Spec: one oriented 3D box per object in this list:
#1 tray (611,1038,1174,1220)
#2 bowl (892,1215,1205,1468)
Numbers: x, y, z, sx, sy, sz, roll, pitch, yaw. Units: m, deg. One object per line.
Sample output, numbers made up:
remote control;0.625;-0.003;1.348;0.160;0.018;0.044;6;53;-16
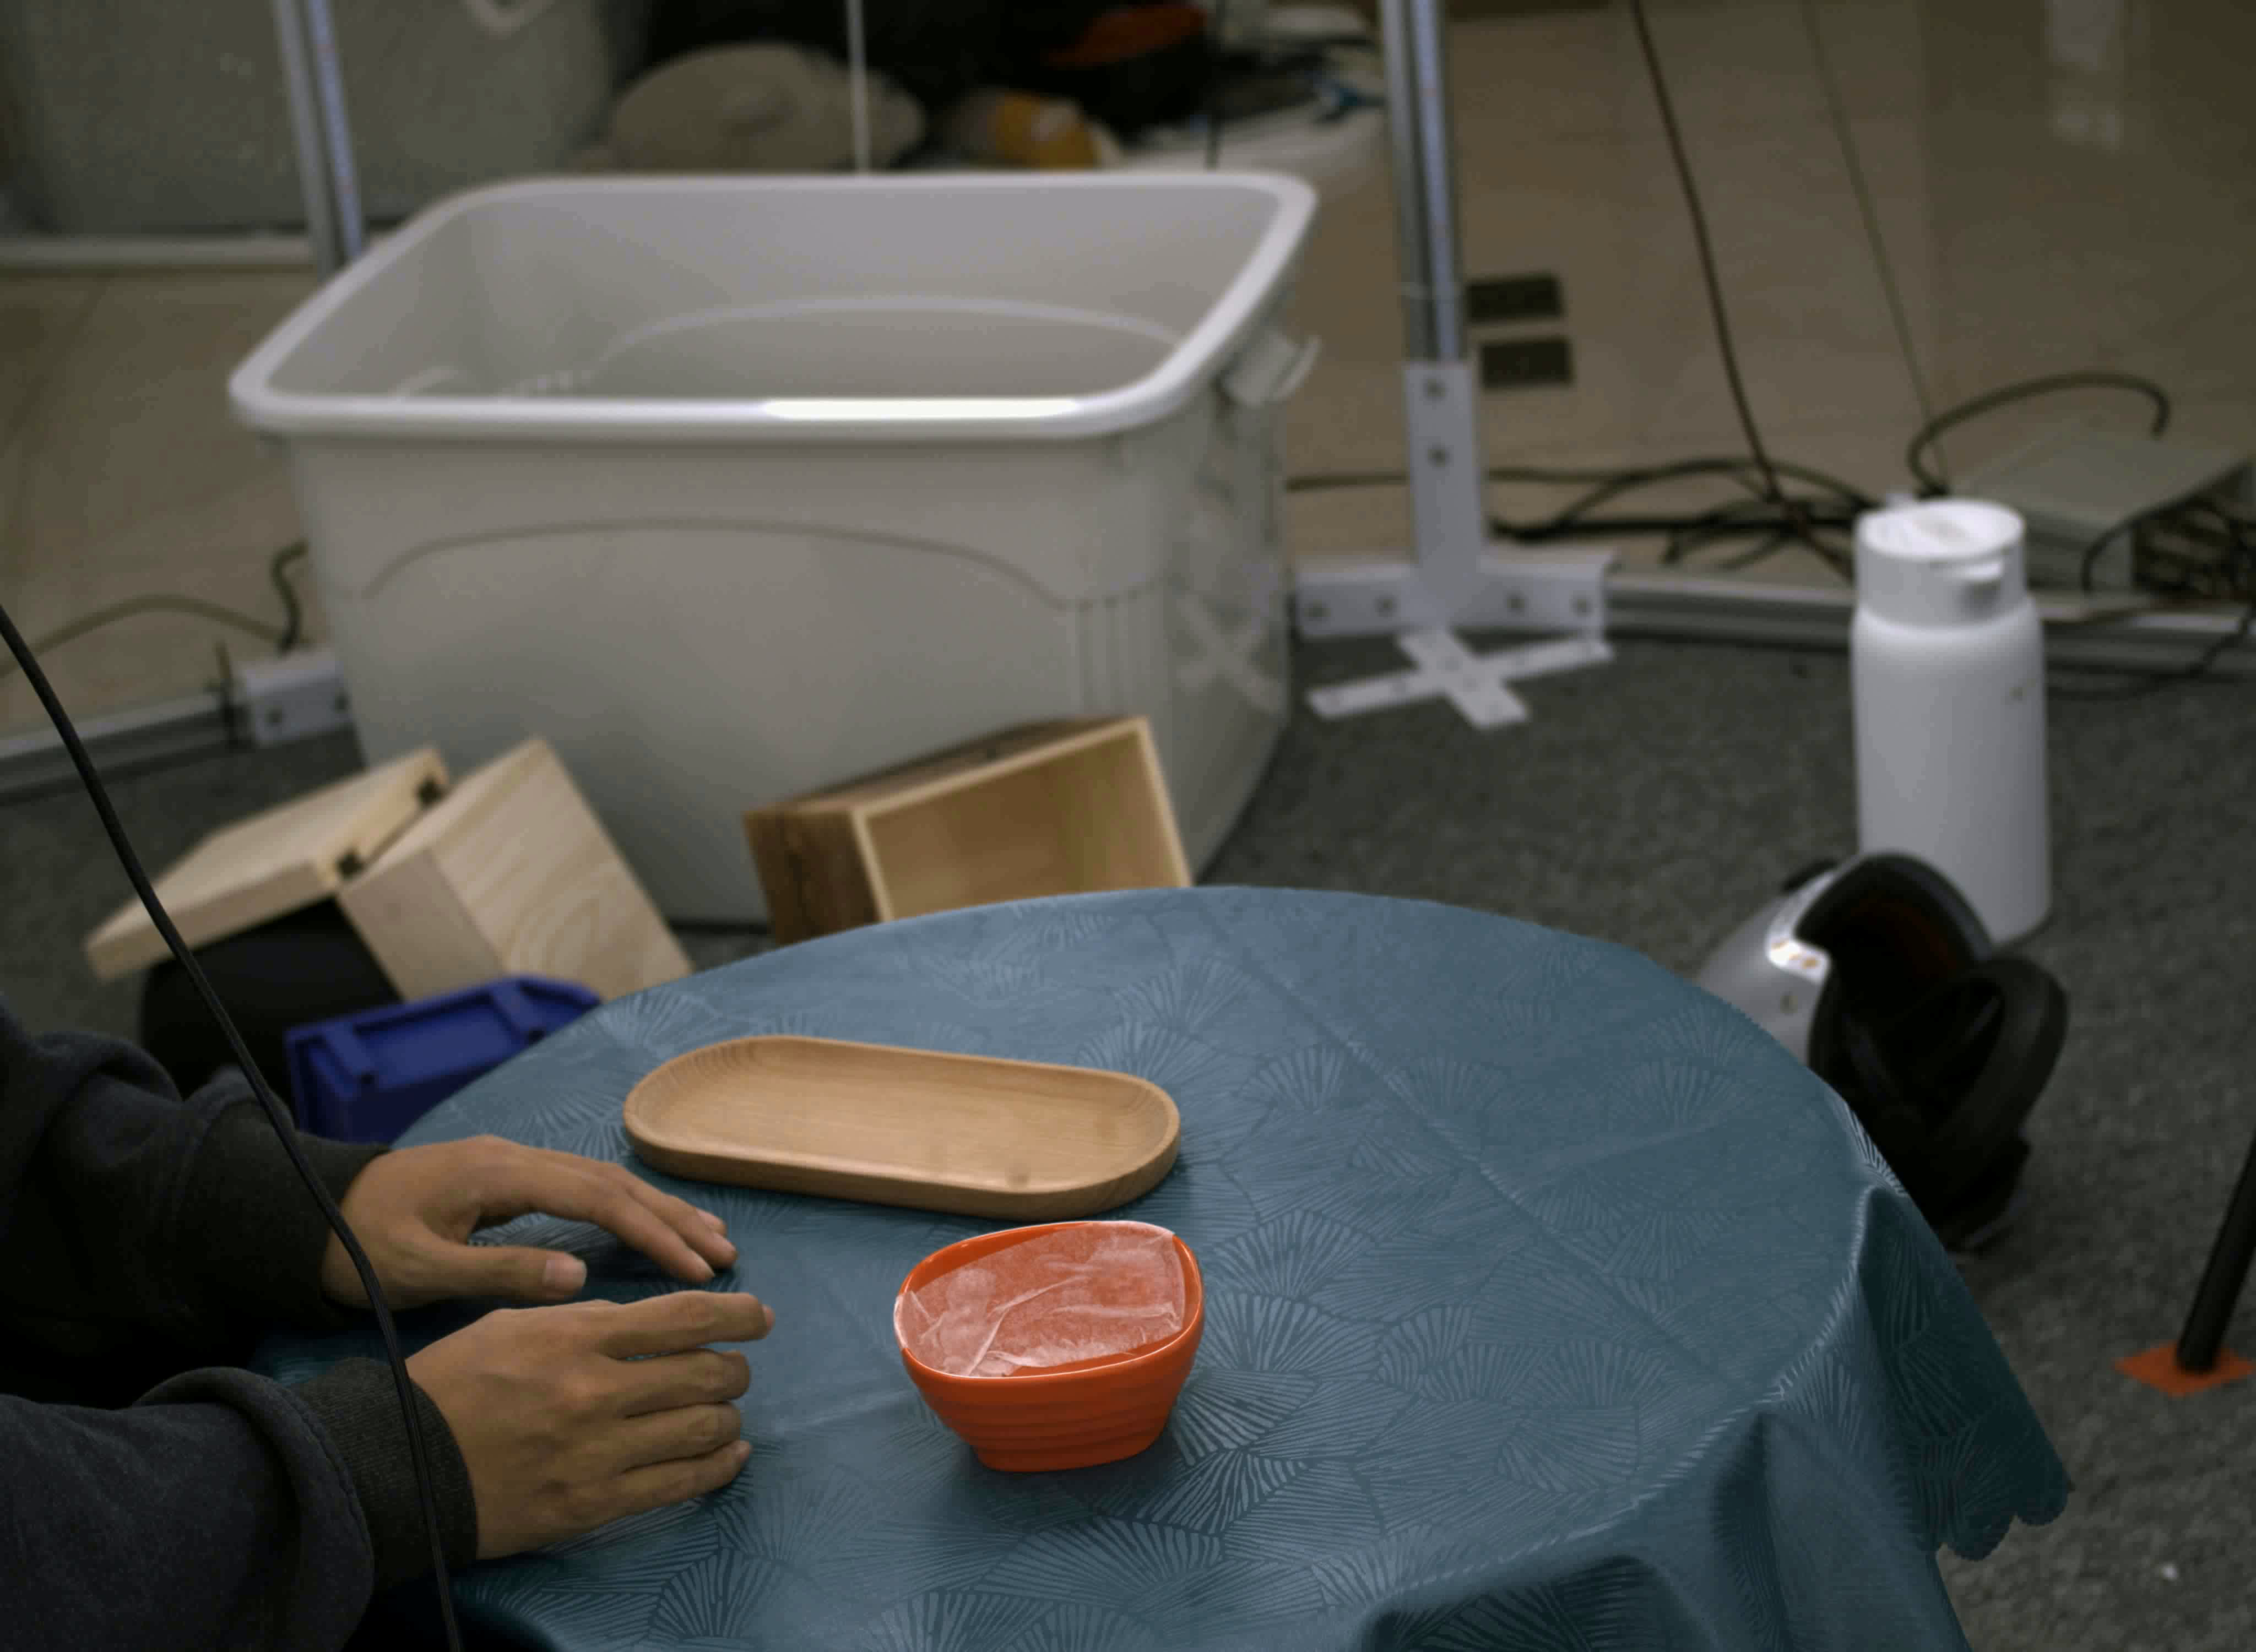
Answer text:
tray;-0.092;0.117;2.197;0.230;0.020;0.100;4;26;23
bowl;-0.026;0.185;1.989;0.119;0.052;0.117;-5;26;2
